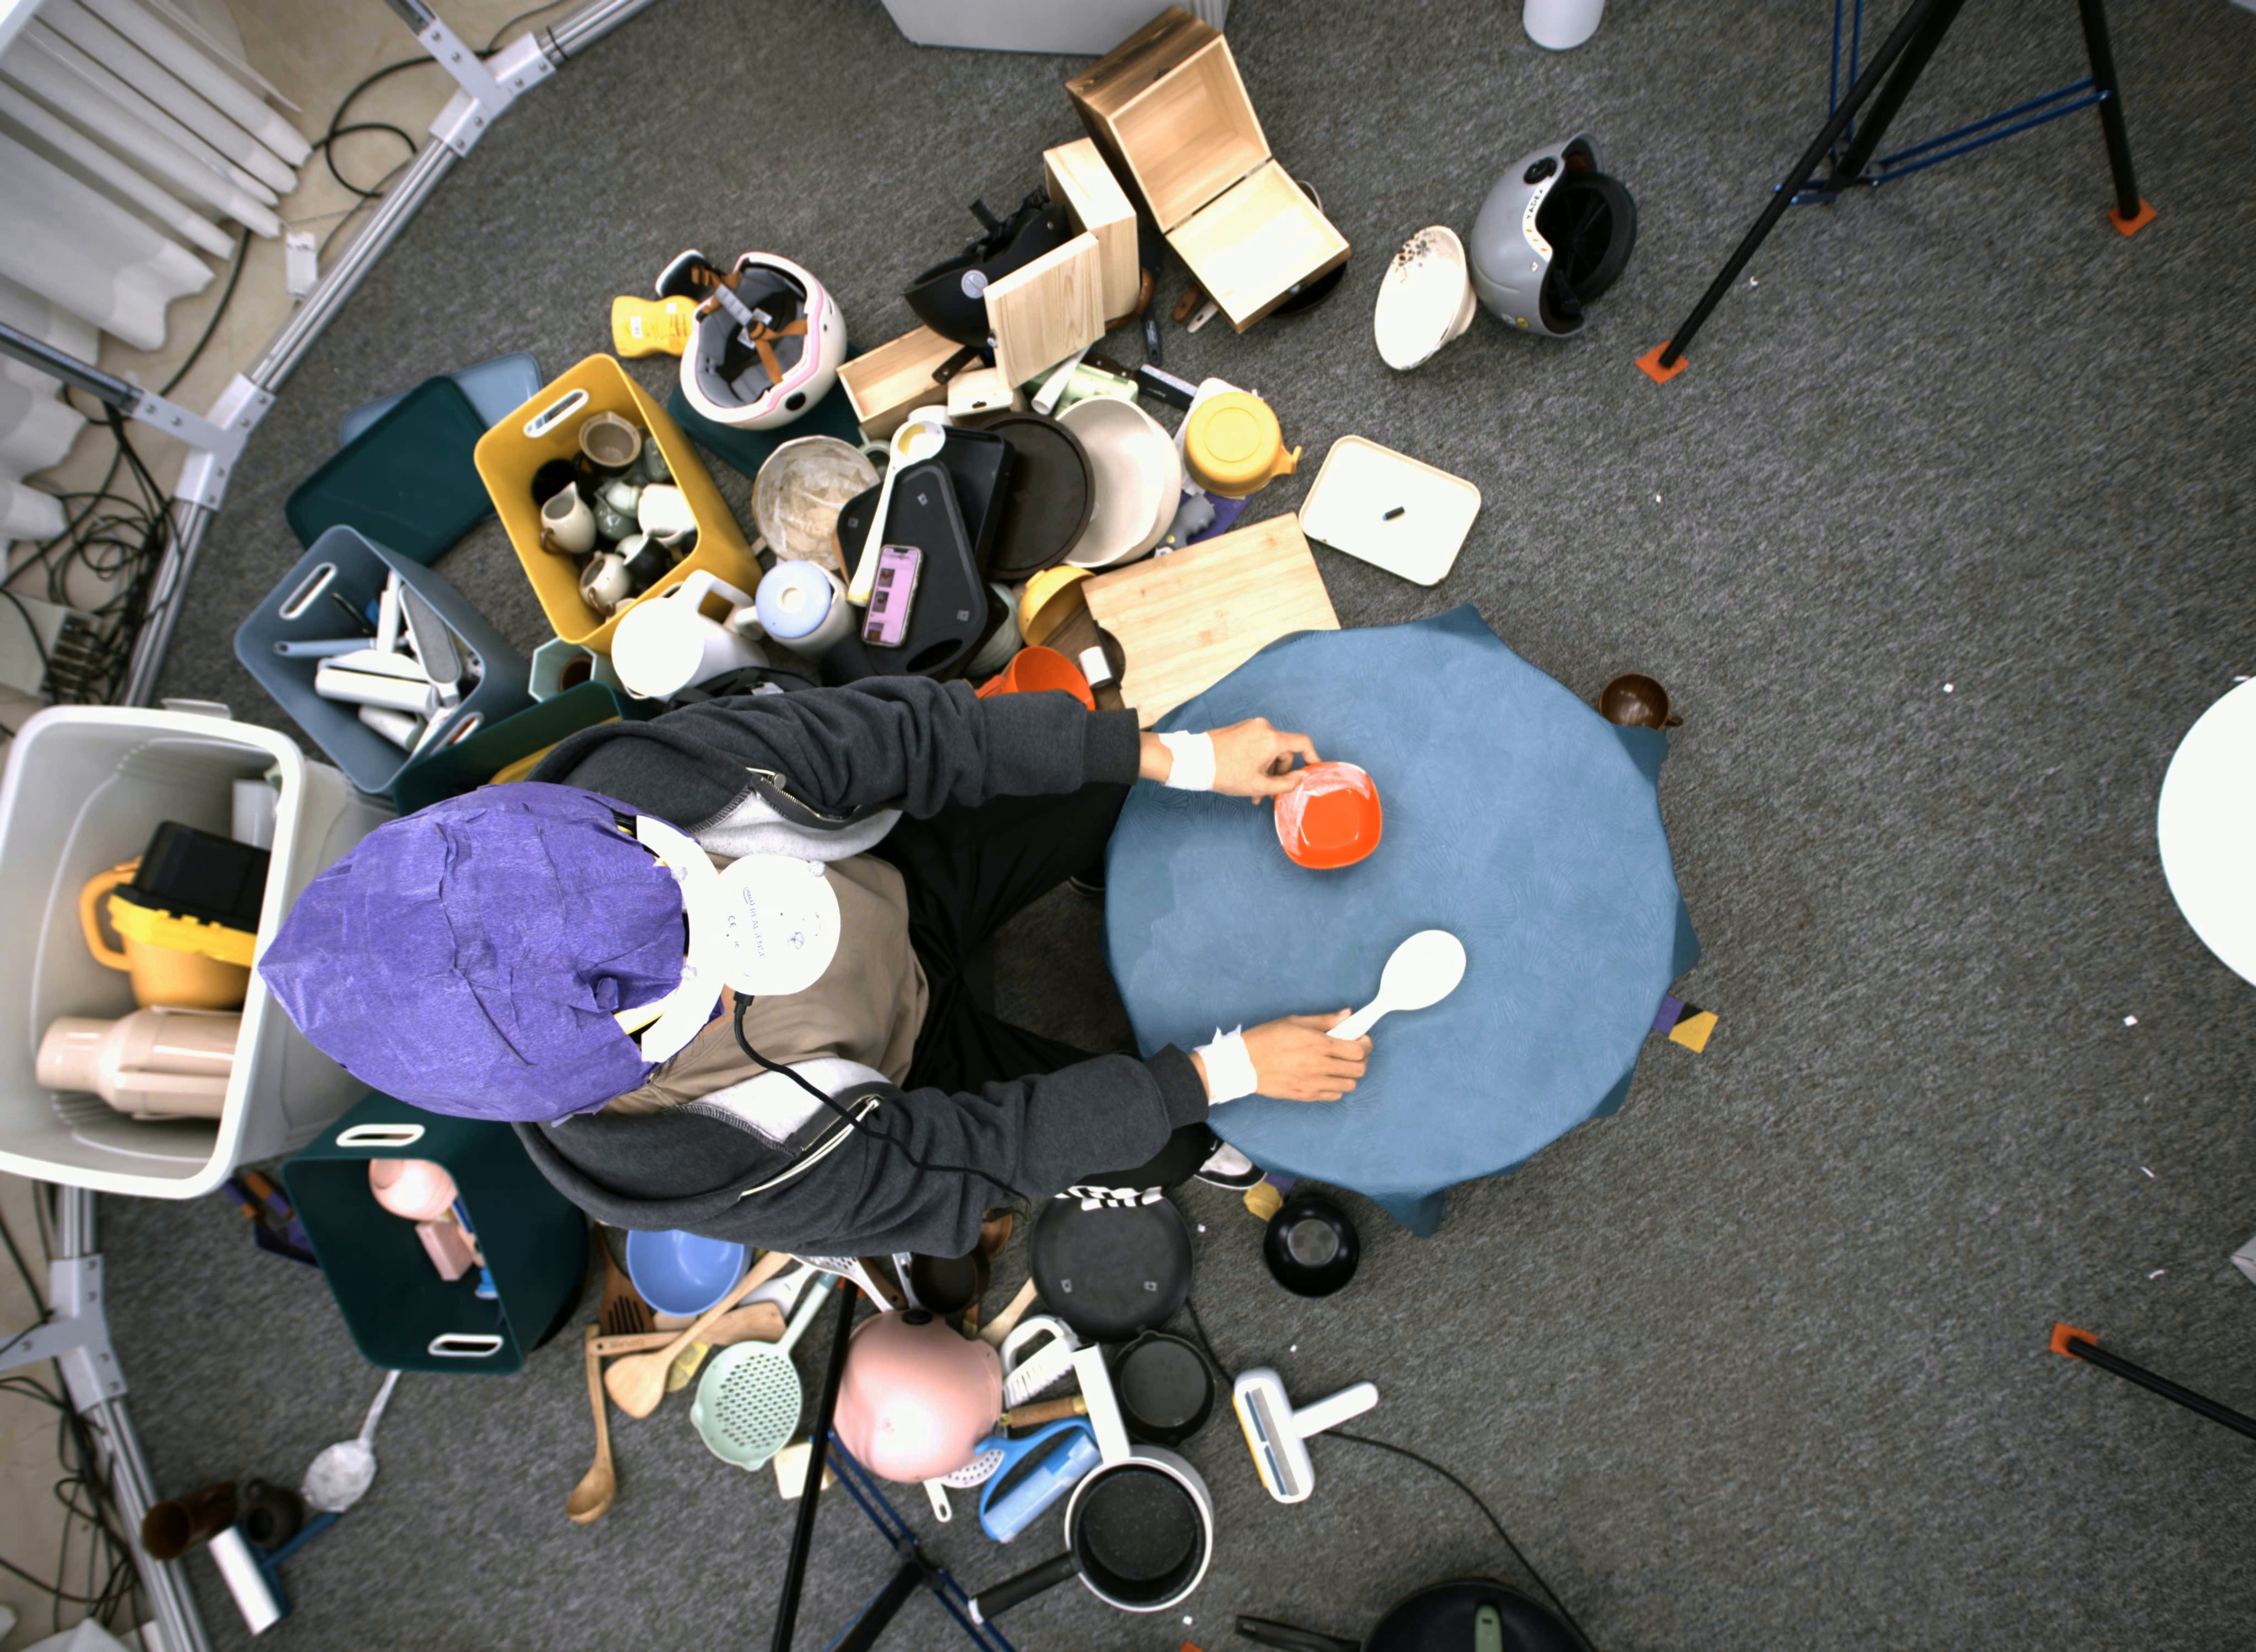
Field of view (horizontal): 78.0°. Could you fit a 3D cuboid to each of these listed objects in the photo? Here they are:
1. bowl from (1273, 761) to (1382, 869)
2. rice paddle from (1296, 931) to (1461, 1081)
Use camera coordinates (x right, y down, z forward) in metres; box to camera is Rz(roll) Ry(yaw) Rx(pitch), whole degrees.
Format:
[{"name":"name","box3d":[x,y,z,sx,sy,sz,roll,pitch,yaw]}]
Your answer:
[{"name":"bowl","box3d":[0.209,-0.010,1.448,0.119,0.051,0.118,-1,87,9]},{"name":"rice paddle","box3d":[0.261,0.184,1.430,0.206,0.029,0.069,-41,90,5]}]
